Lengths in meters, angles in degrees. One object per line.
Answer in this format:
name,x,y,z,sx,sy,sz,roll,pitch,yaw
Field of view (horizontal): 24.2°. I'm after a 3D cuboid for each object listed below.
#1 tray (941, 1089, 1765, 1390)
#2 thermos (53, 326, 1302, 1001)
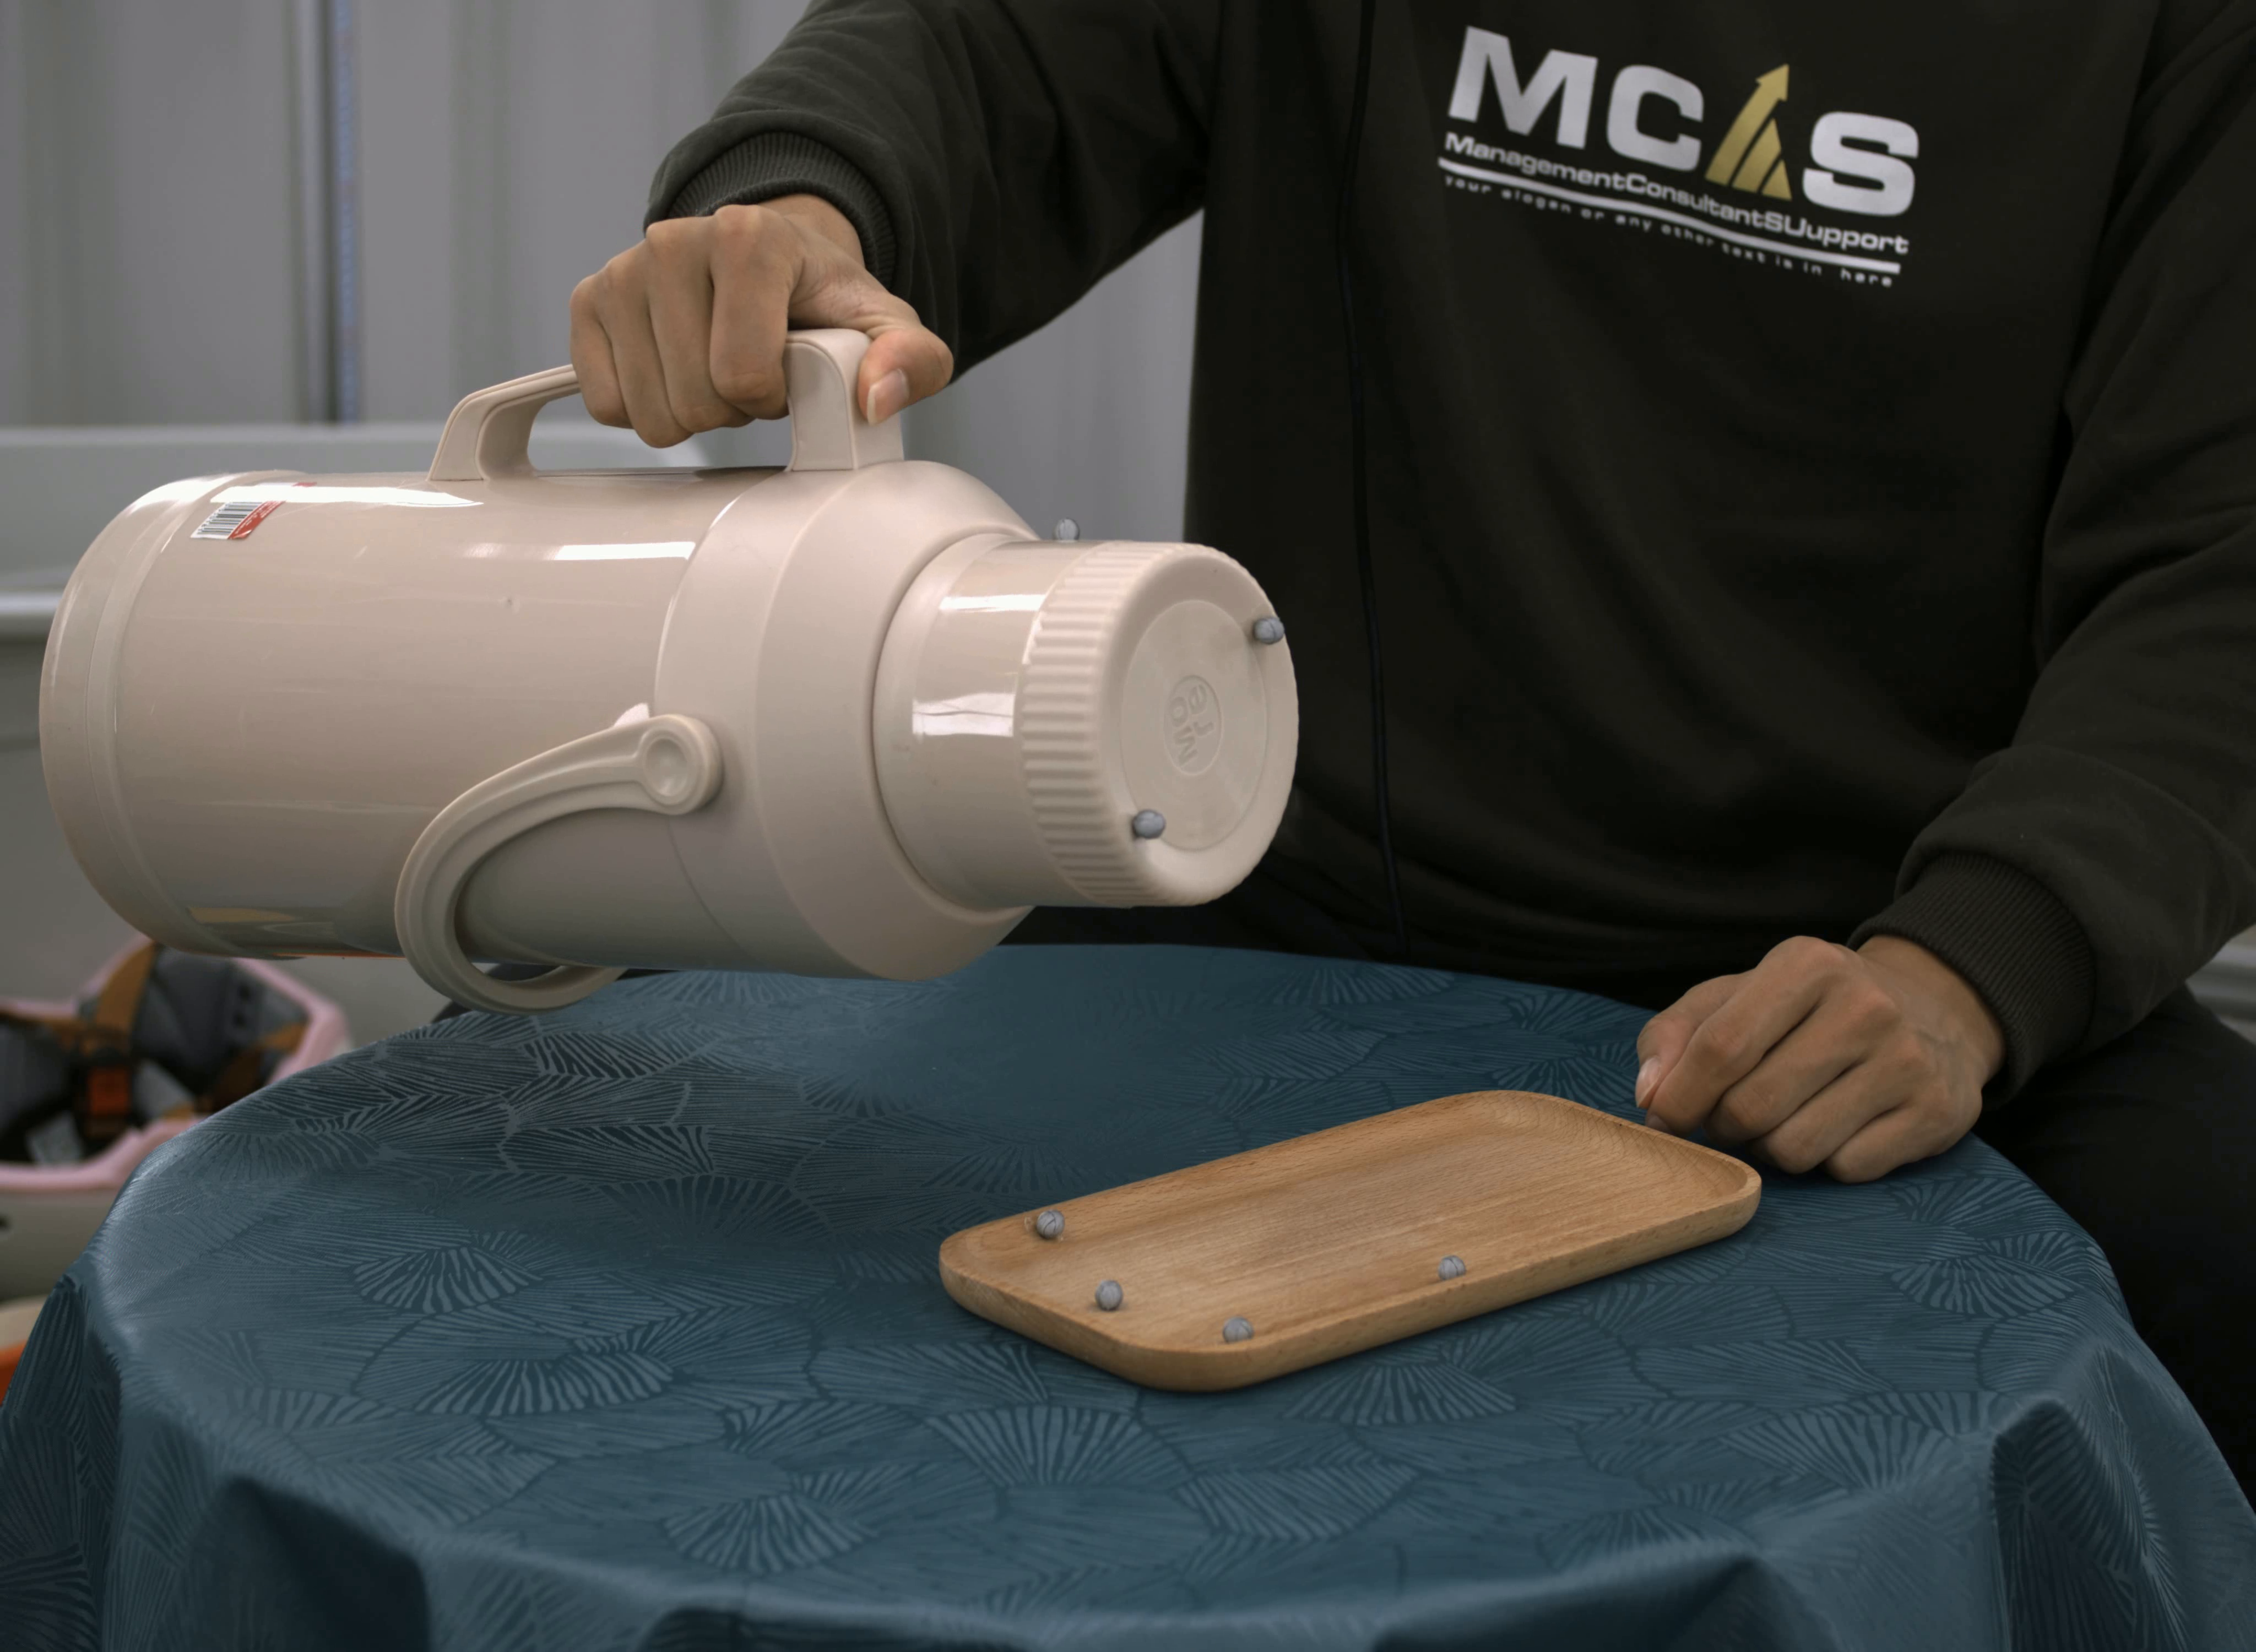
tray,0.070,0.121,1.573,0.252,0.023,0.129,-11,22,-39
thermos,-0.140,-0.047,1.622,0.401,0.208,0.176,1,12,37
